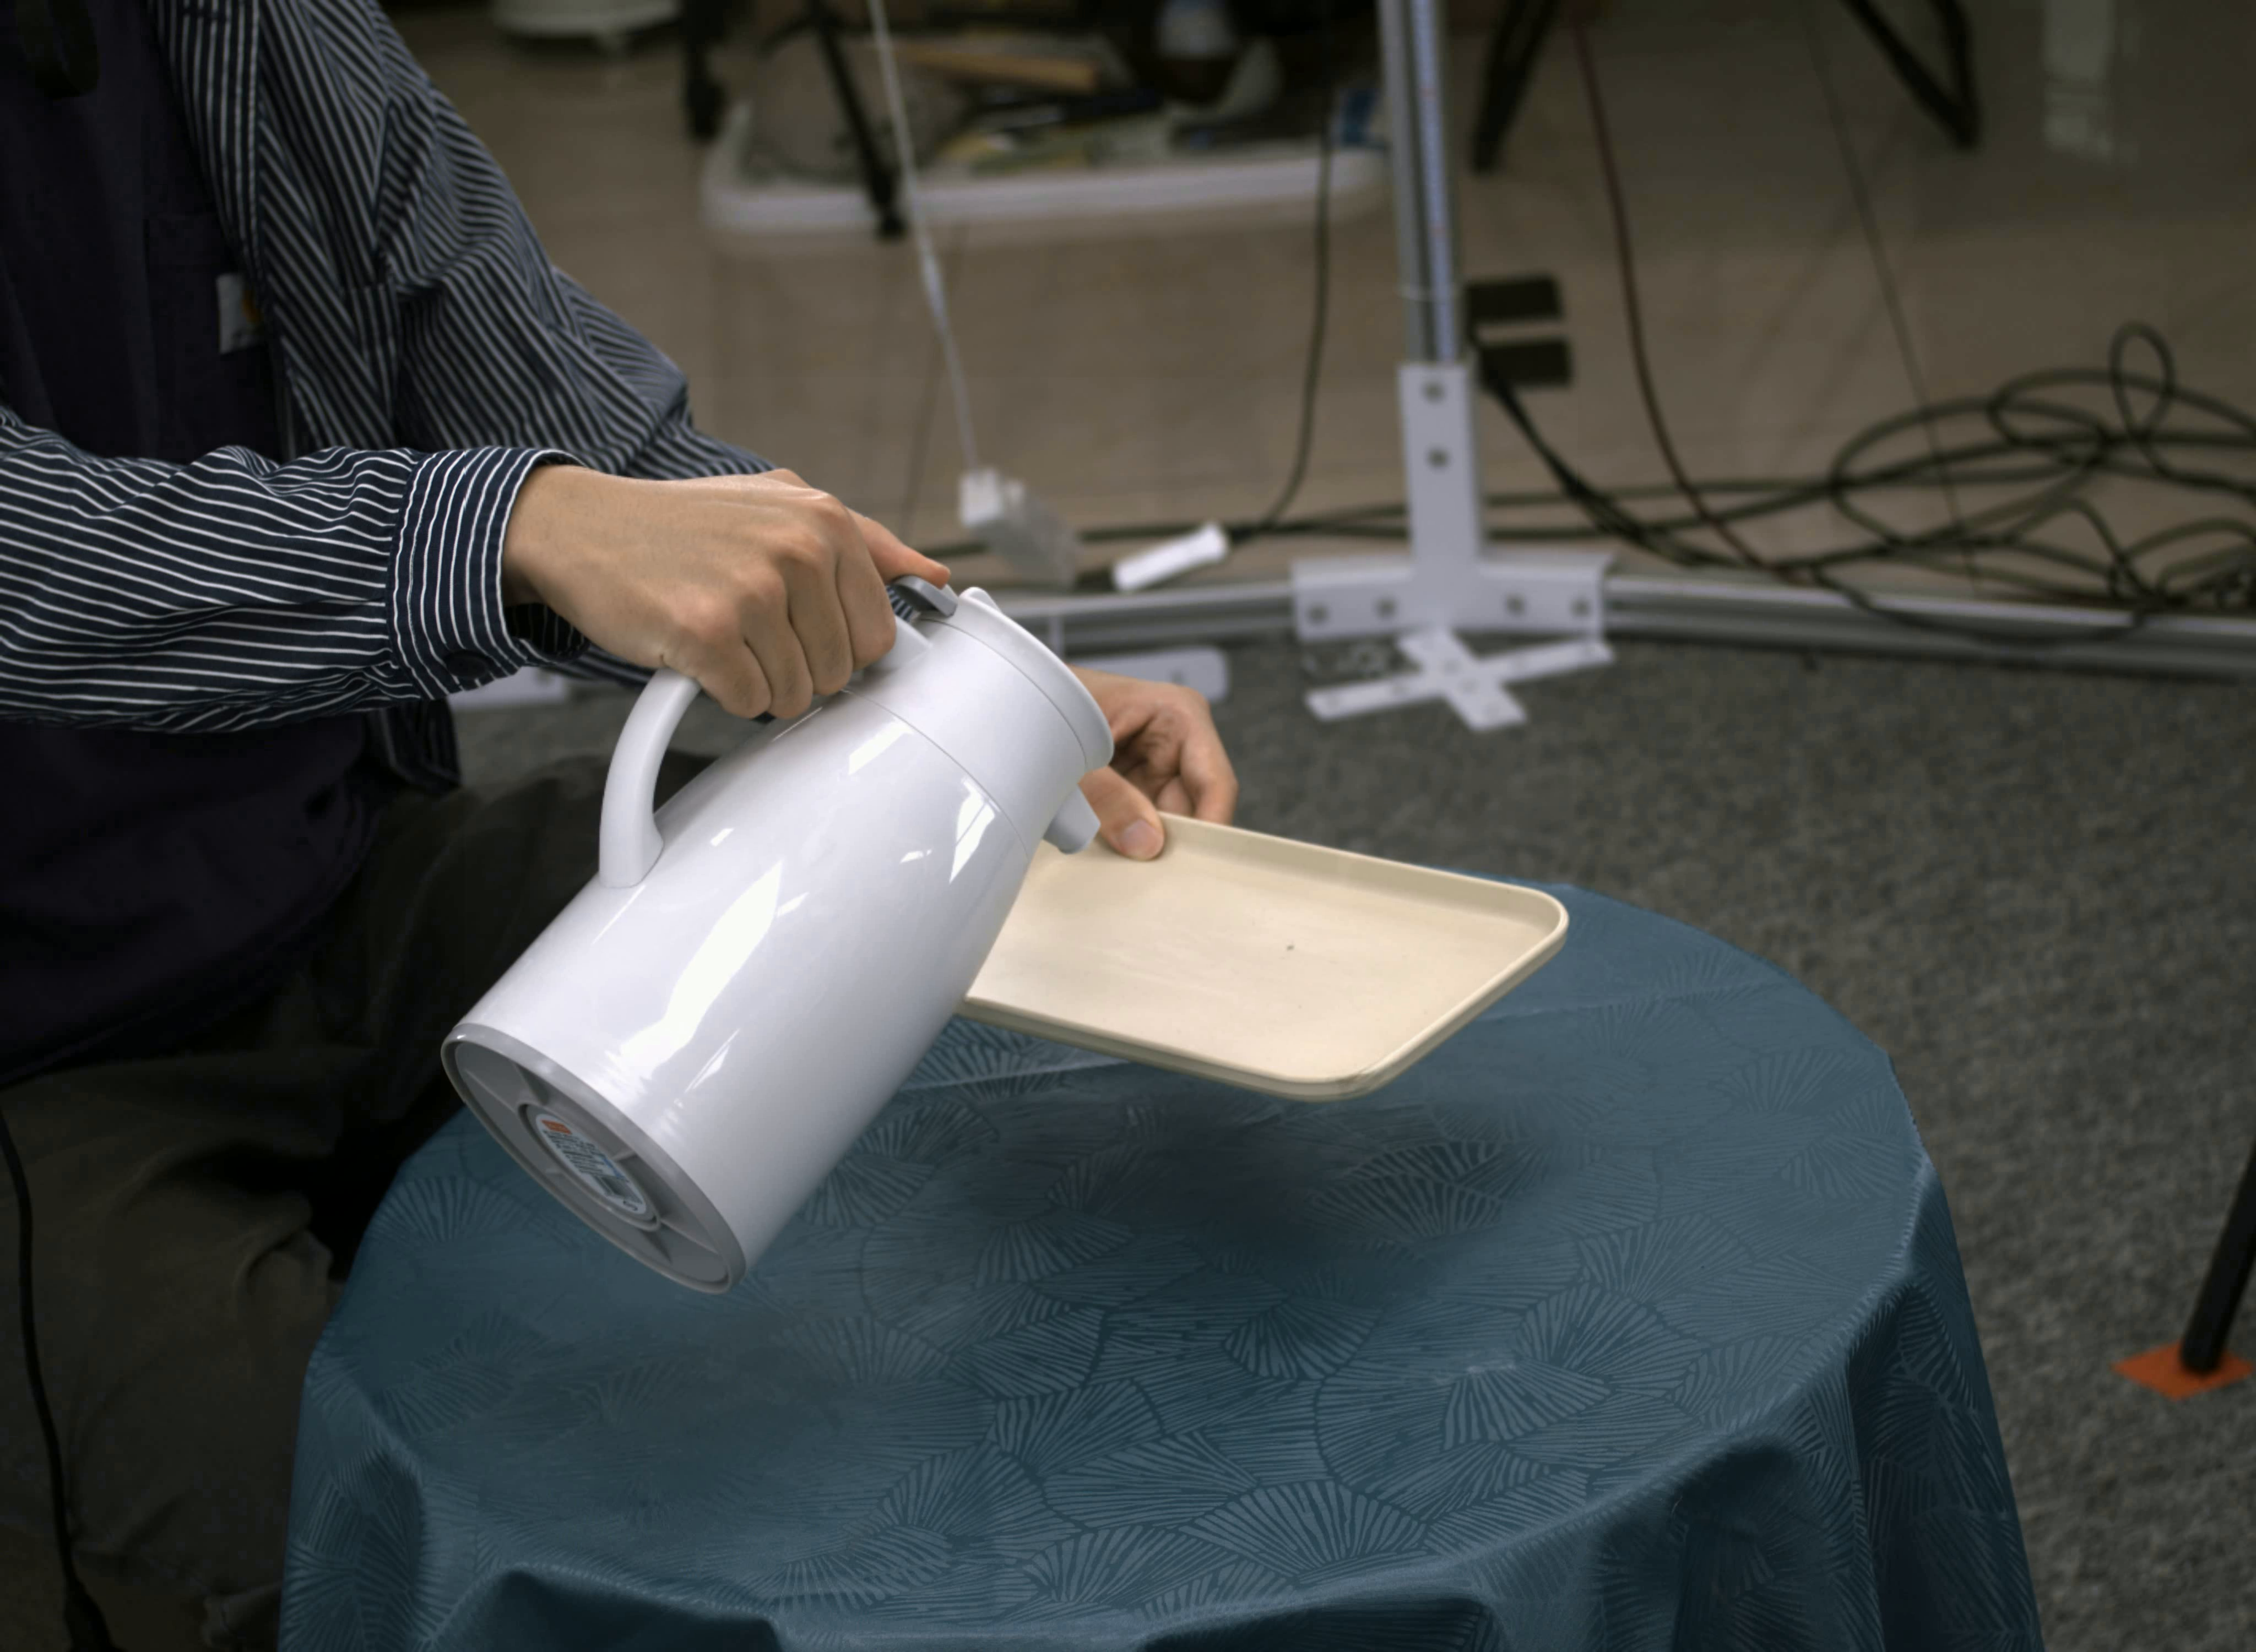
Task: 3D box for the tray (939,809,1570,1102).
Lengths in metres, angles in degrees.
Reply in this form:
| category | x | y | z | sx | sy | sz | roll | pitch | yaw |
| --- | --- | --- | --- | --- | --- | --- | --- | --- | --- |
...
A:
| category | x | y | z | sx | sy | sz | roll | pitch | yaw |
| --- | --- | --- | --- | --- | --- | --- | --- | --- | --- |
| tray | 0.033 | 0.048 | 2.131 | 0.238 | 0.018 | 0.169 | 12 | 30 | 34 |

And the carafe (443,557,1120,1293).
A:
| category | x | y | z | sx | sy | sz | roll | pitch | yaw |
| --- | --- | --- | --- | --- | --- | --- | --- | --- | --- |
| carafe | -0.119 | 0.018 | 1.989 | 0.246 | 0.170 | 0.131 | -48 | 35 | -18 |
